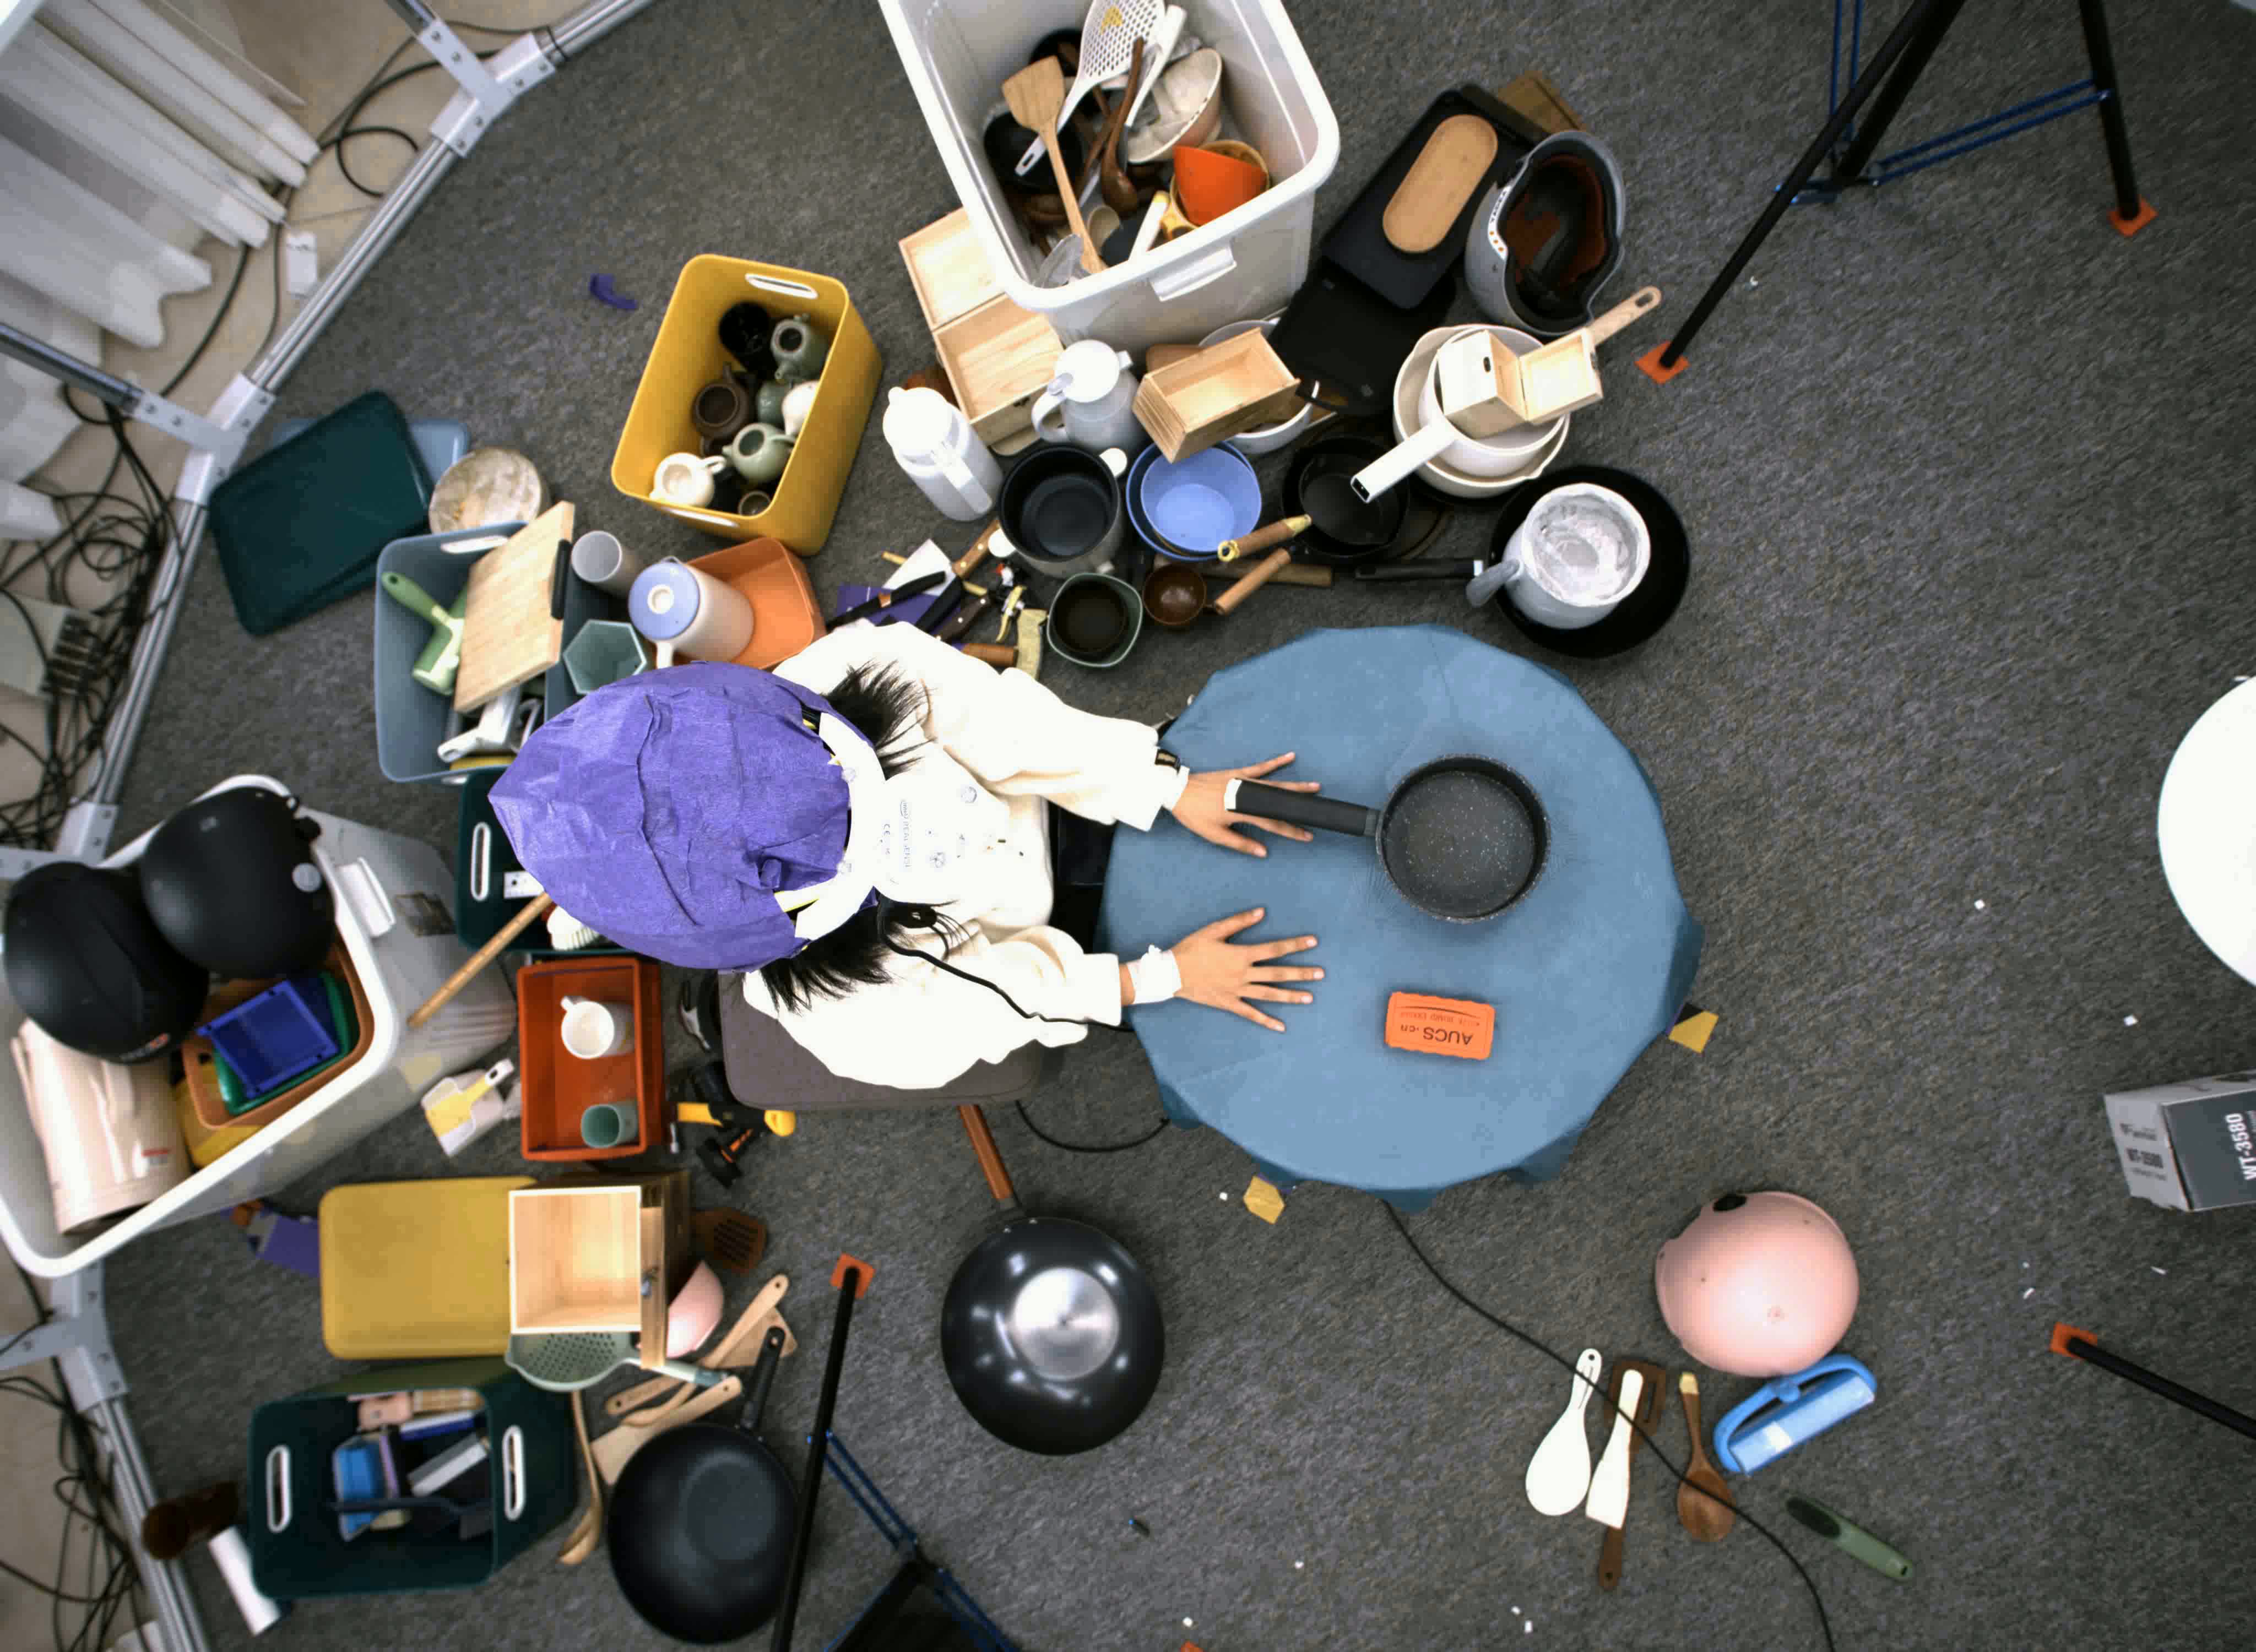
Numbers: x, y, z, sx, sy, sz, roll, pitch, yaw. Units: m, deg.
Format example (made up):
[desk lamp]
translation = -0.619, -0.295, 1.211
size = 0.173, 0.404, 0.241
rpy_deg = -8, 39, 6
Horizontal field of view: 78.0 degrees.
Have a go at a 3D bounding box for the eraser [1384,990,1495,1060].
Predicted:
[eraser]
translation = 0.322, 0.204, 1.431
size = 0.108, 0.023, 0.059
rpy_deg = 8, 88, 11

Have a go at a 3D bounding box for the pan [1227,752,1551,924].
[pan]
translation = 0.265, -0.004, 1.423
size = 0.329, 0.086, 0.171
rpy_deg = 13, 88, 10
